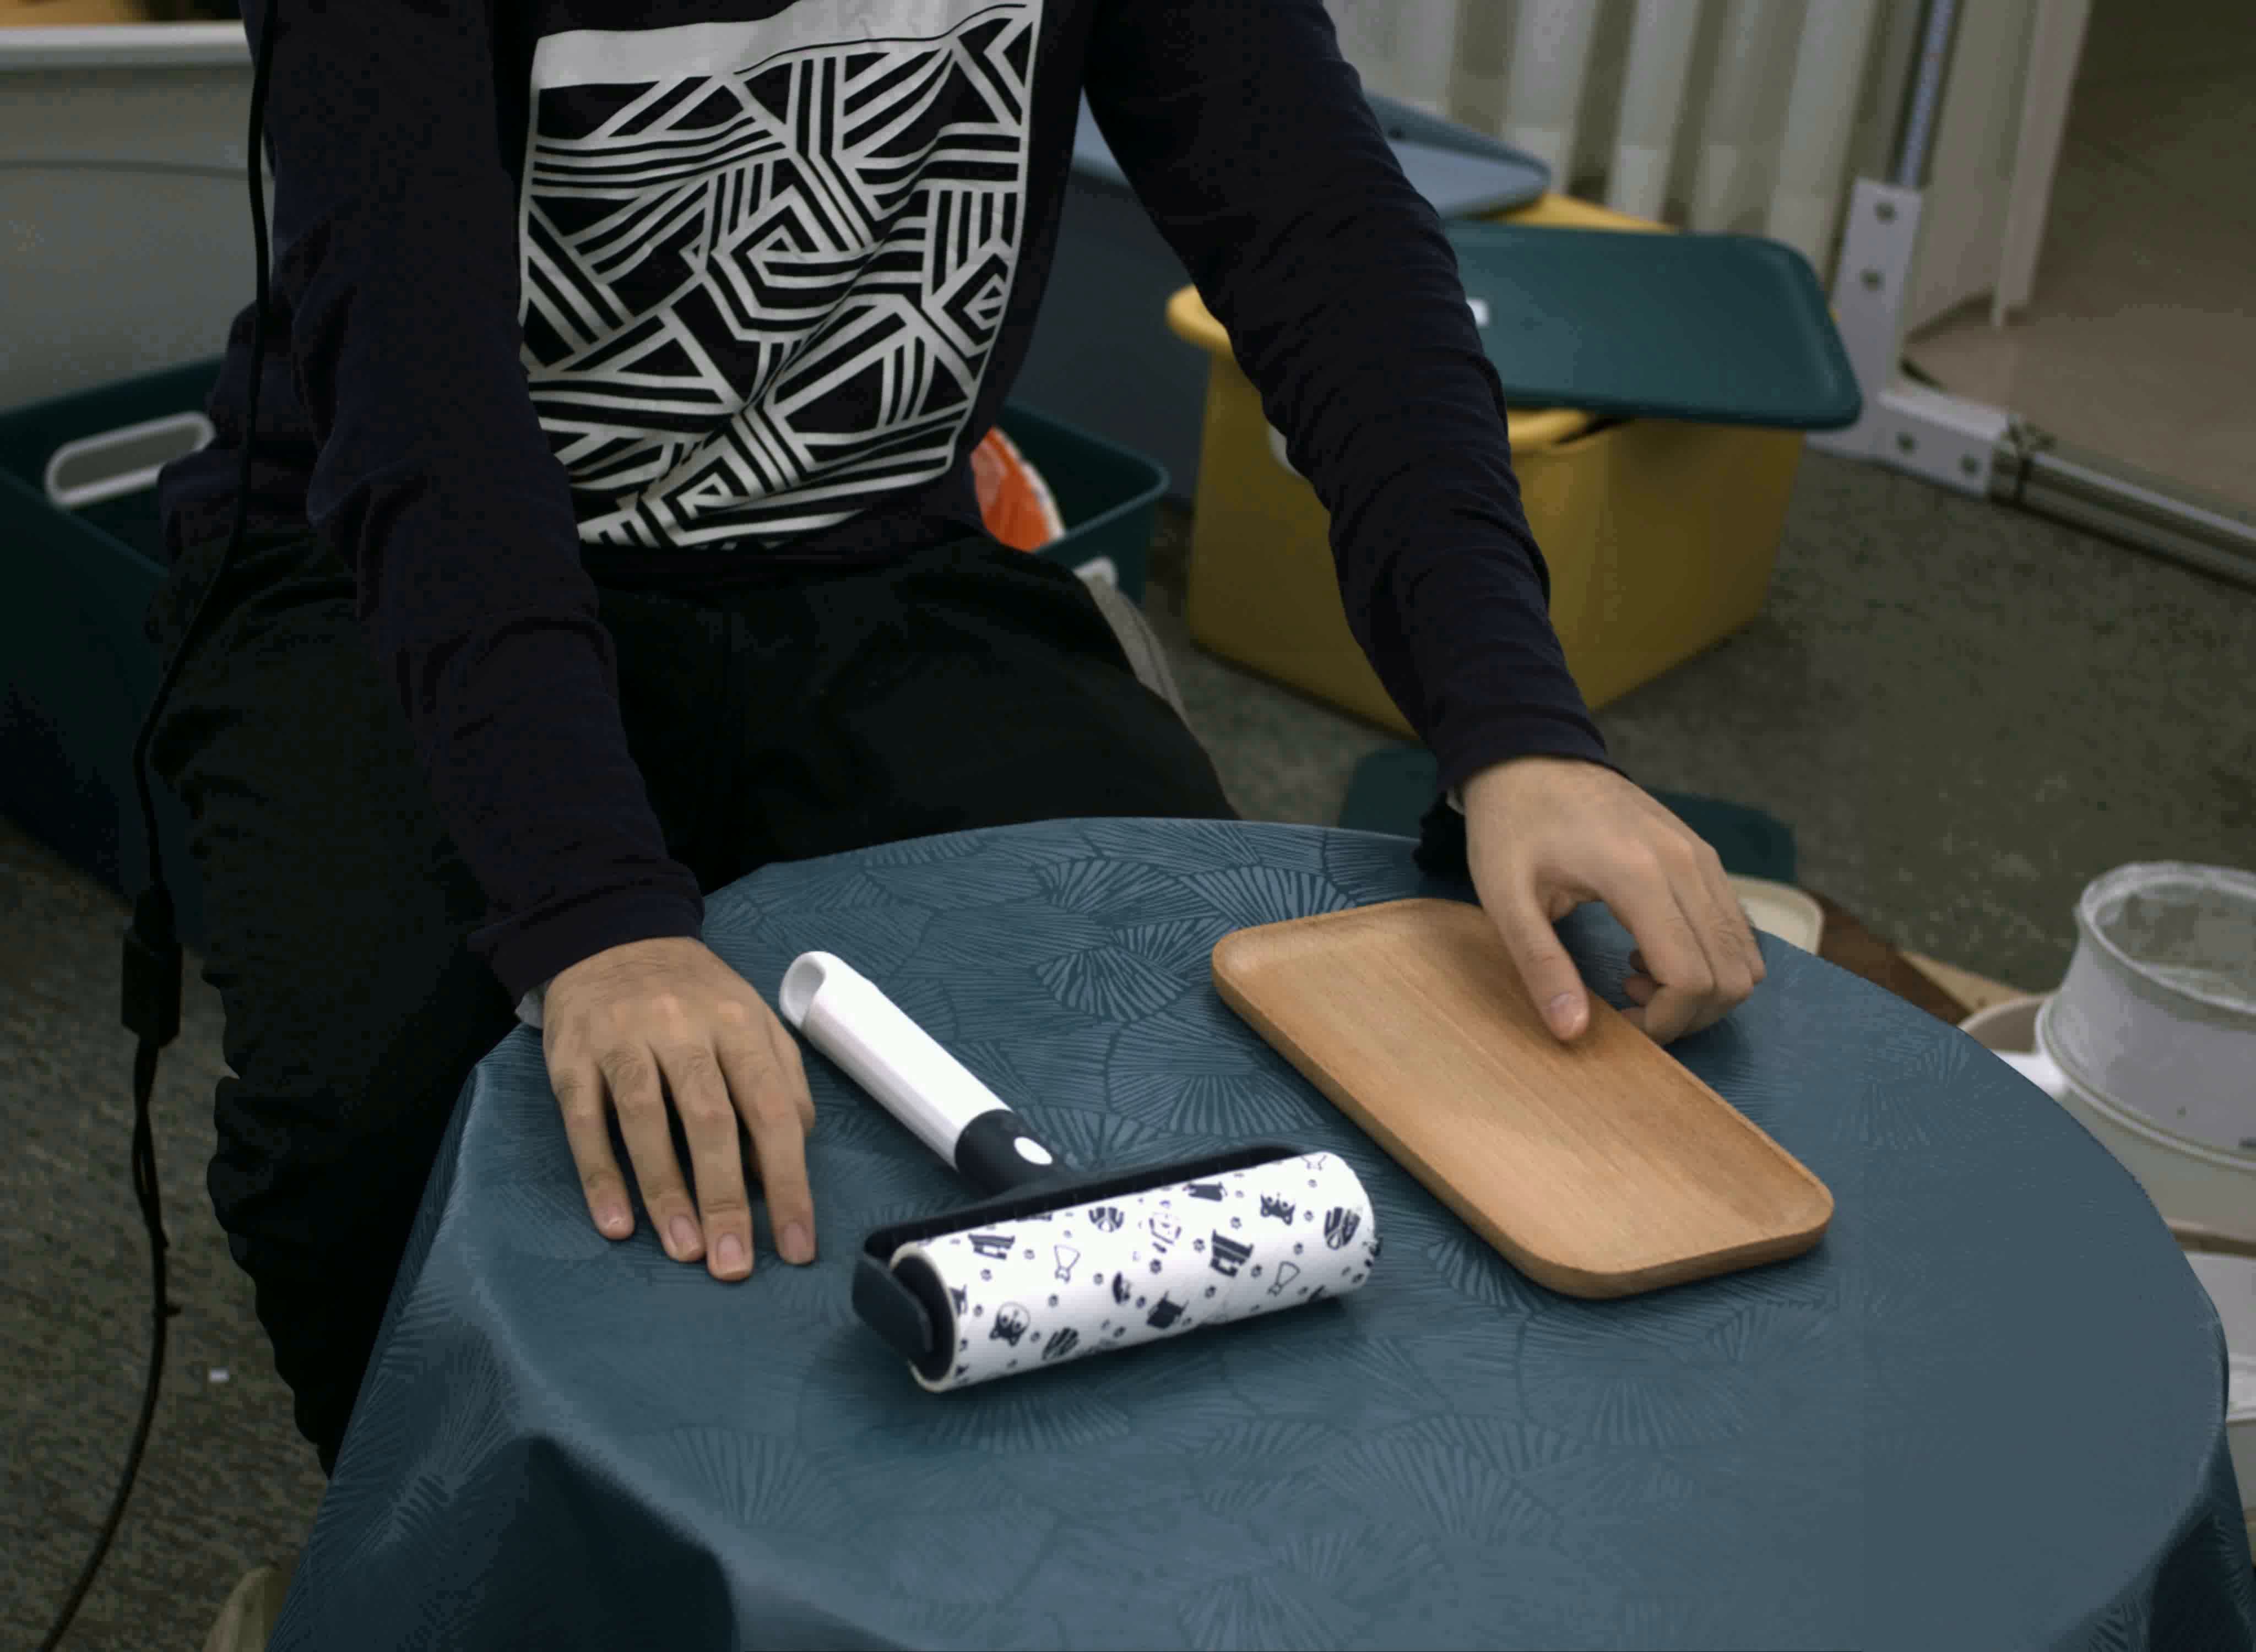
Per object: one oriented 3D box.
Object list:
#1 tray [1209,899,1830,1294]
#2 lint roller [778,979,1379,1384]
[{"bbox_3d":[0.134,0.093,1.880,0.129,0.023,0.253,-6,28,-29],"label":"tray"},{"bbox_3d":[-0.053,0.102,1.792,0.175,0.050,0.249,-12,29,-30],"label":"lint roller"}]
